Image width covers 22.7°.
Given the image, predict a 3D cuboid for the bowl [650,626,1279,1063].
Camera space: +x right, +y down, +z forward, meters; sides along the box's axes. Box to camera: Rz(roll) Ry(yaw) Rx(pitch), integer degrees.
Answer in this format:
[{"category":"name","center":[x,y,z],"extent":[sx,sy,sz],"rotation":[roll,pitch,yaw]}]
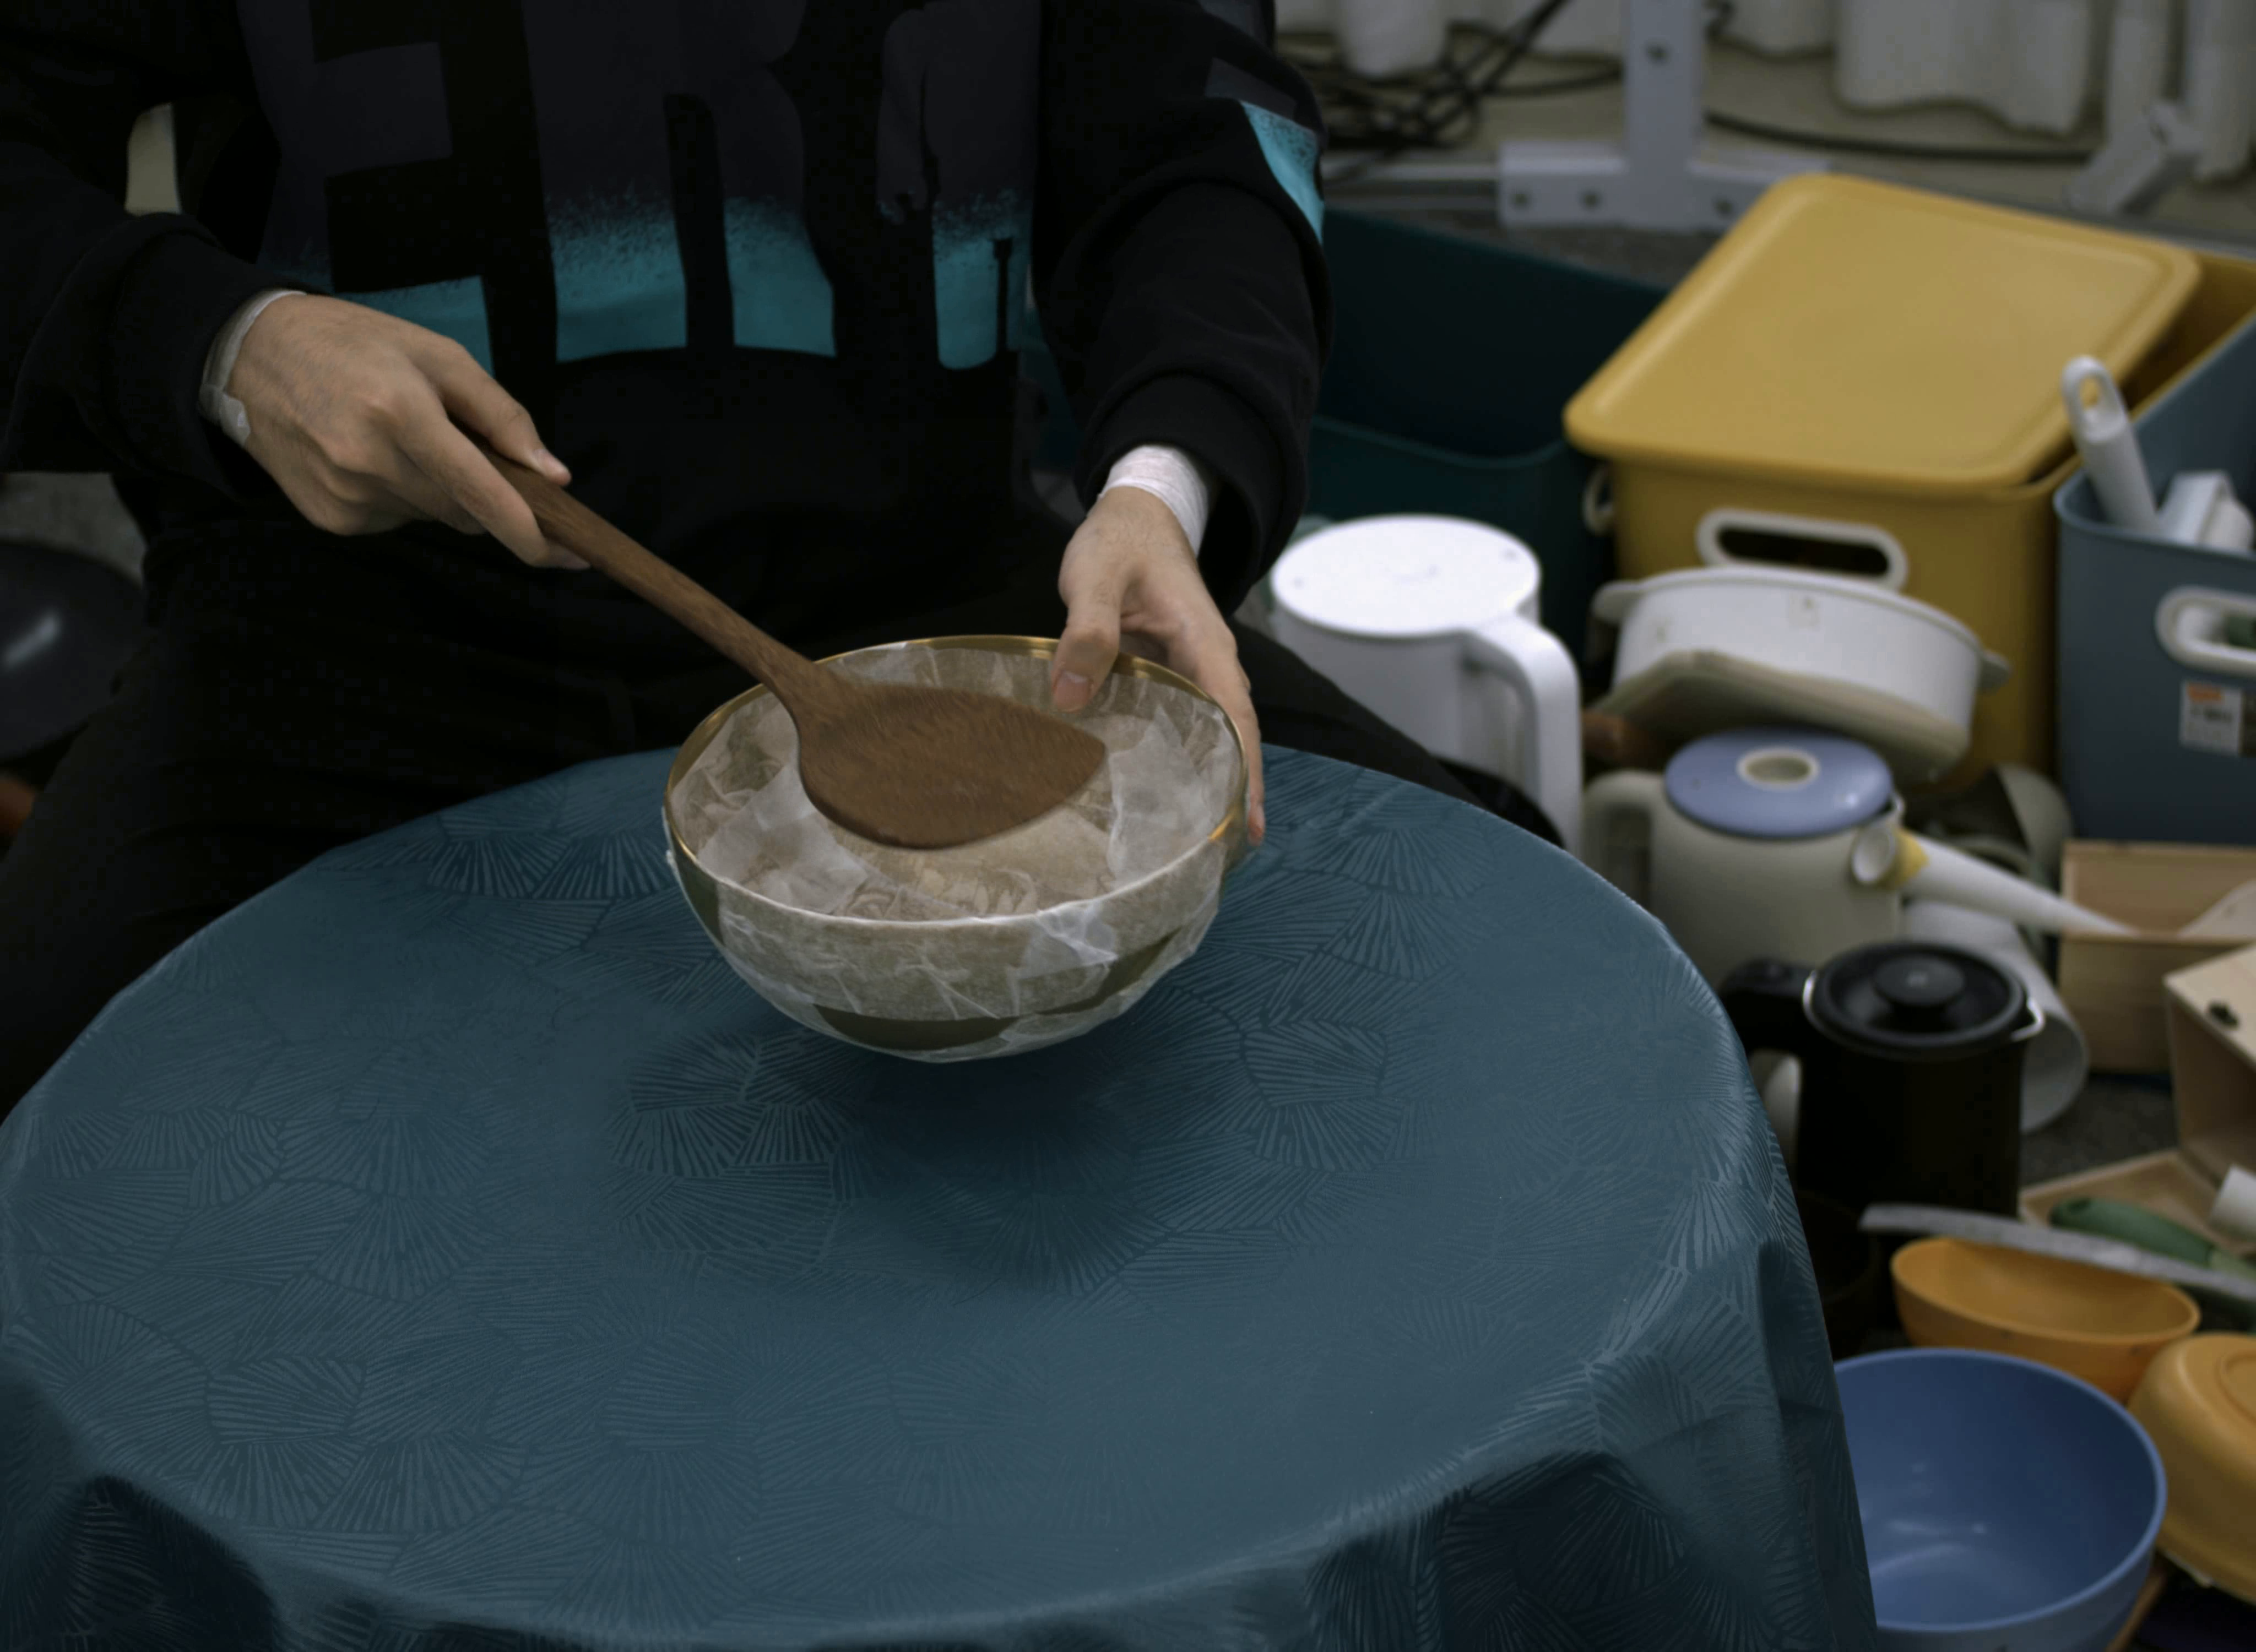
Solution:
[{"category":"bowl","center":[-0.054,0.019,1.919],"extent":[0.213,0.093,0.218],"rotation":[-3,27,2]}]

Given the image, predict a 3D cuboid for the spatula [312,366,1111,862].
[{"category":"spatula","center":[-0.163,-0.082,1.970],"extent":[0.097,0.015,0.387],"rotation":[-27,46,-37]}]
